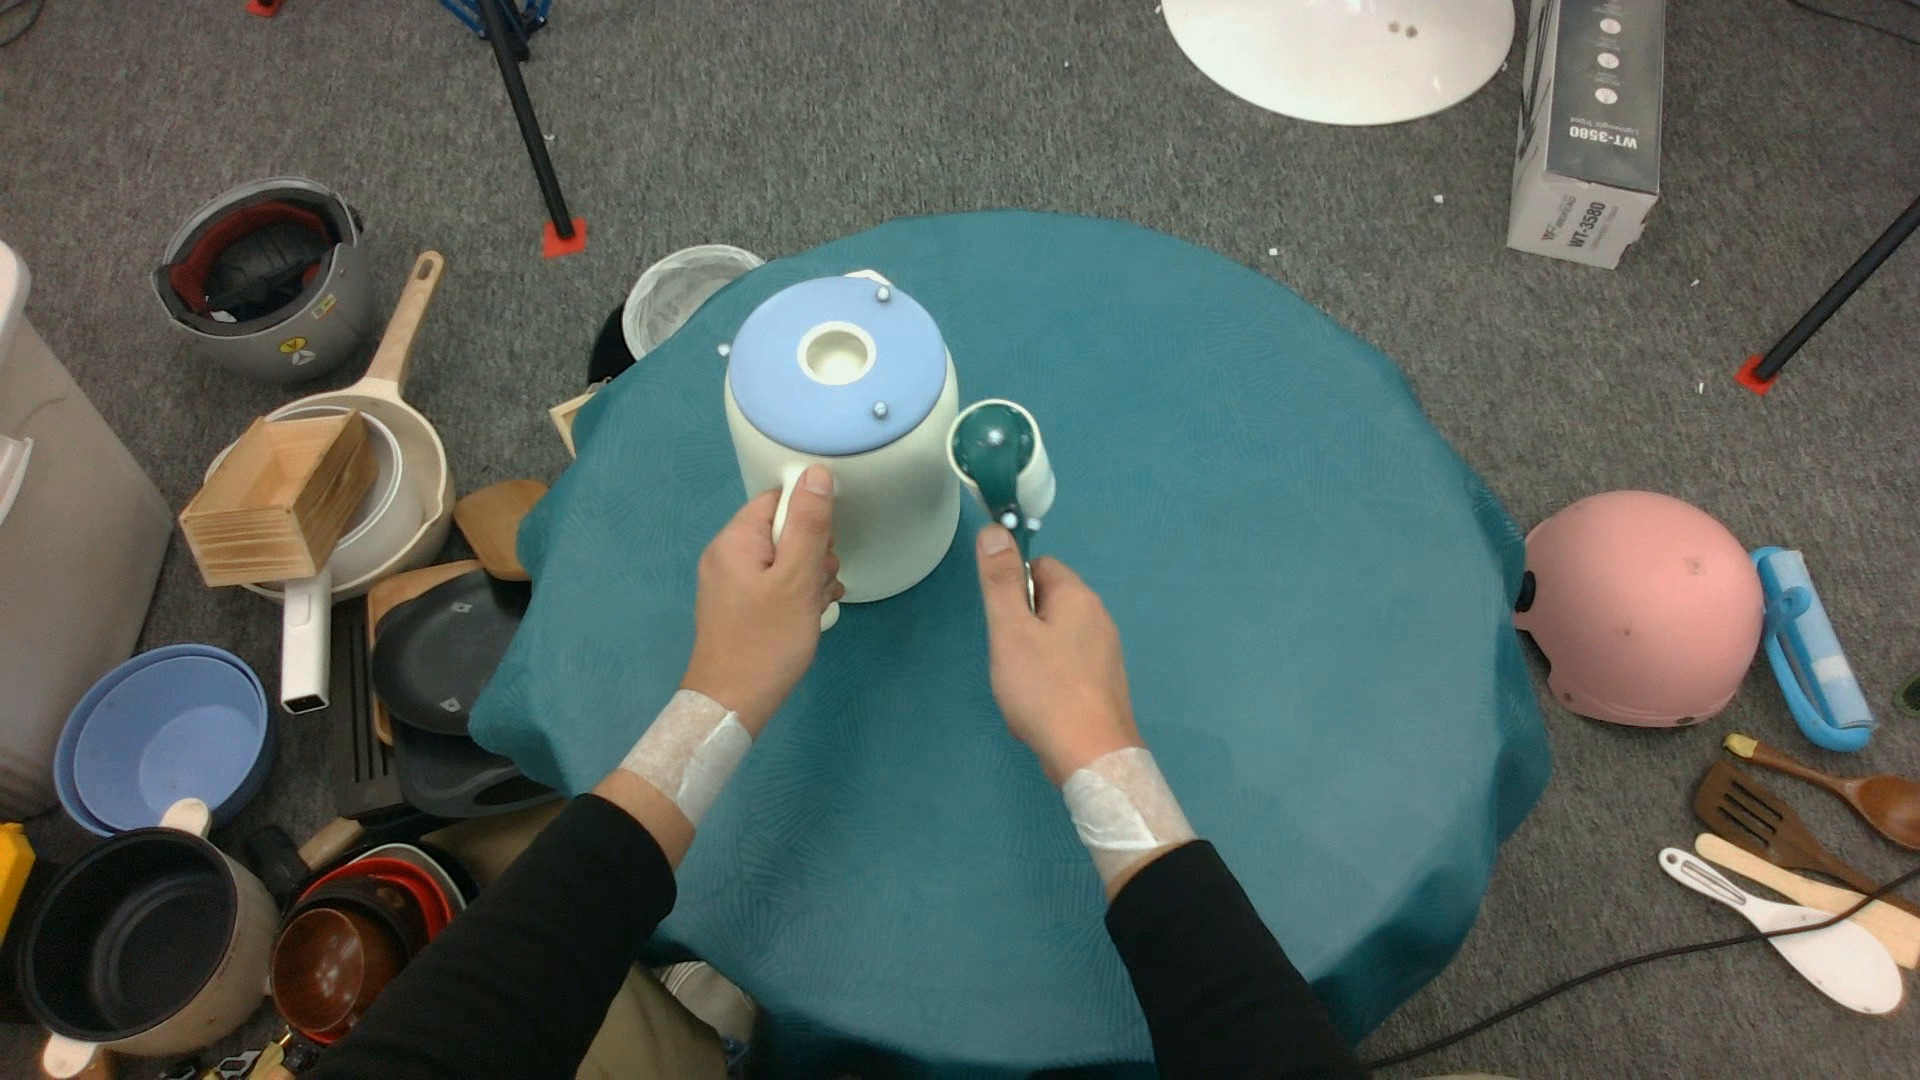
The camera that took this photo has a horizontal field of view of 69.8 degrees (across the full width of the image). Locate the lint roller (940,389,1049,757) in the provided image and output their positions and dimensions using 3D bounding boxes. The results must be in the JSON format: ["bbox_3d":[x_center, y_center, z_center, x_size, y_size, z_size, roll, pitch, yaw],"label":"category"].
[{"bbox_3d":[0.034,0.020,0.721,0.048,0.134,0.180,-14,78,6],"label":"lint roller"}]

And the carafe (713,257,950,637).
[{"bbox_3d":[-0.077,-0.041,0.800,0.132,0.182,0.192,10,63,6],"label":"carafe"}]
